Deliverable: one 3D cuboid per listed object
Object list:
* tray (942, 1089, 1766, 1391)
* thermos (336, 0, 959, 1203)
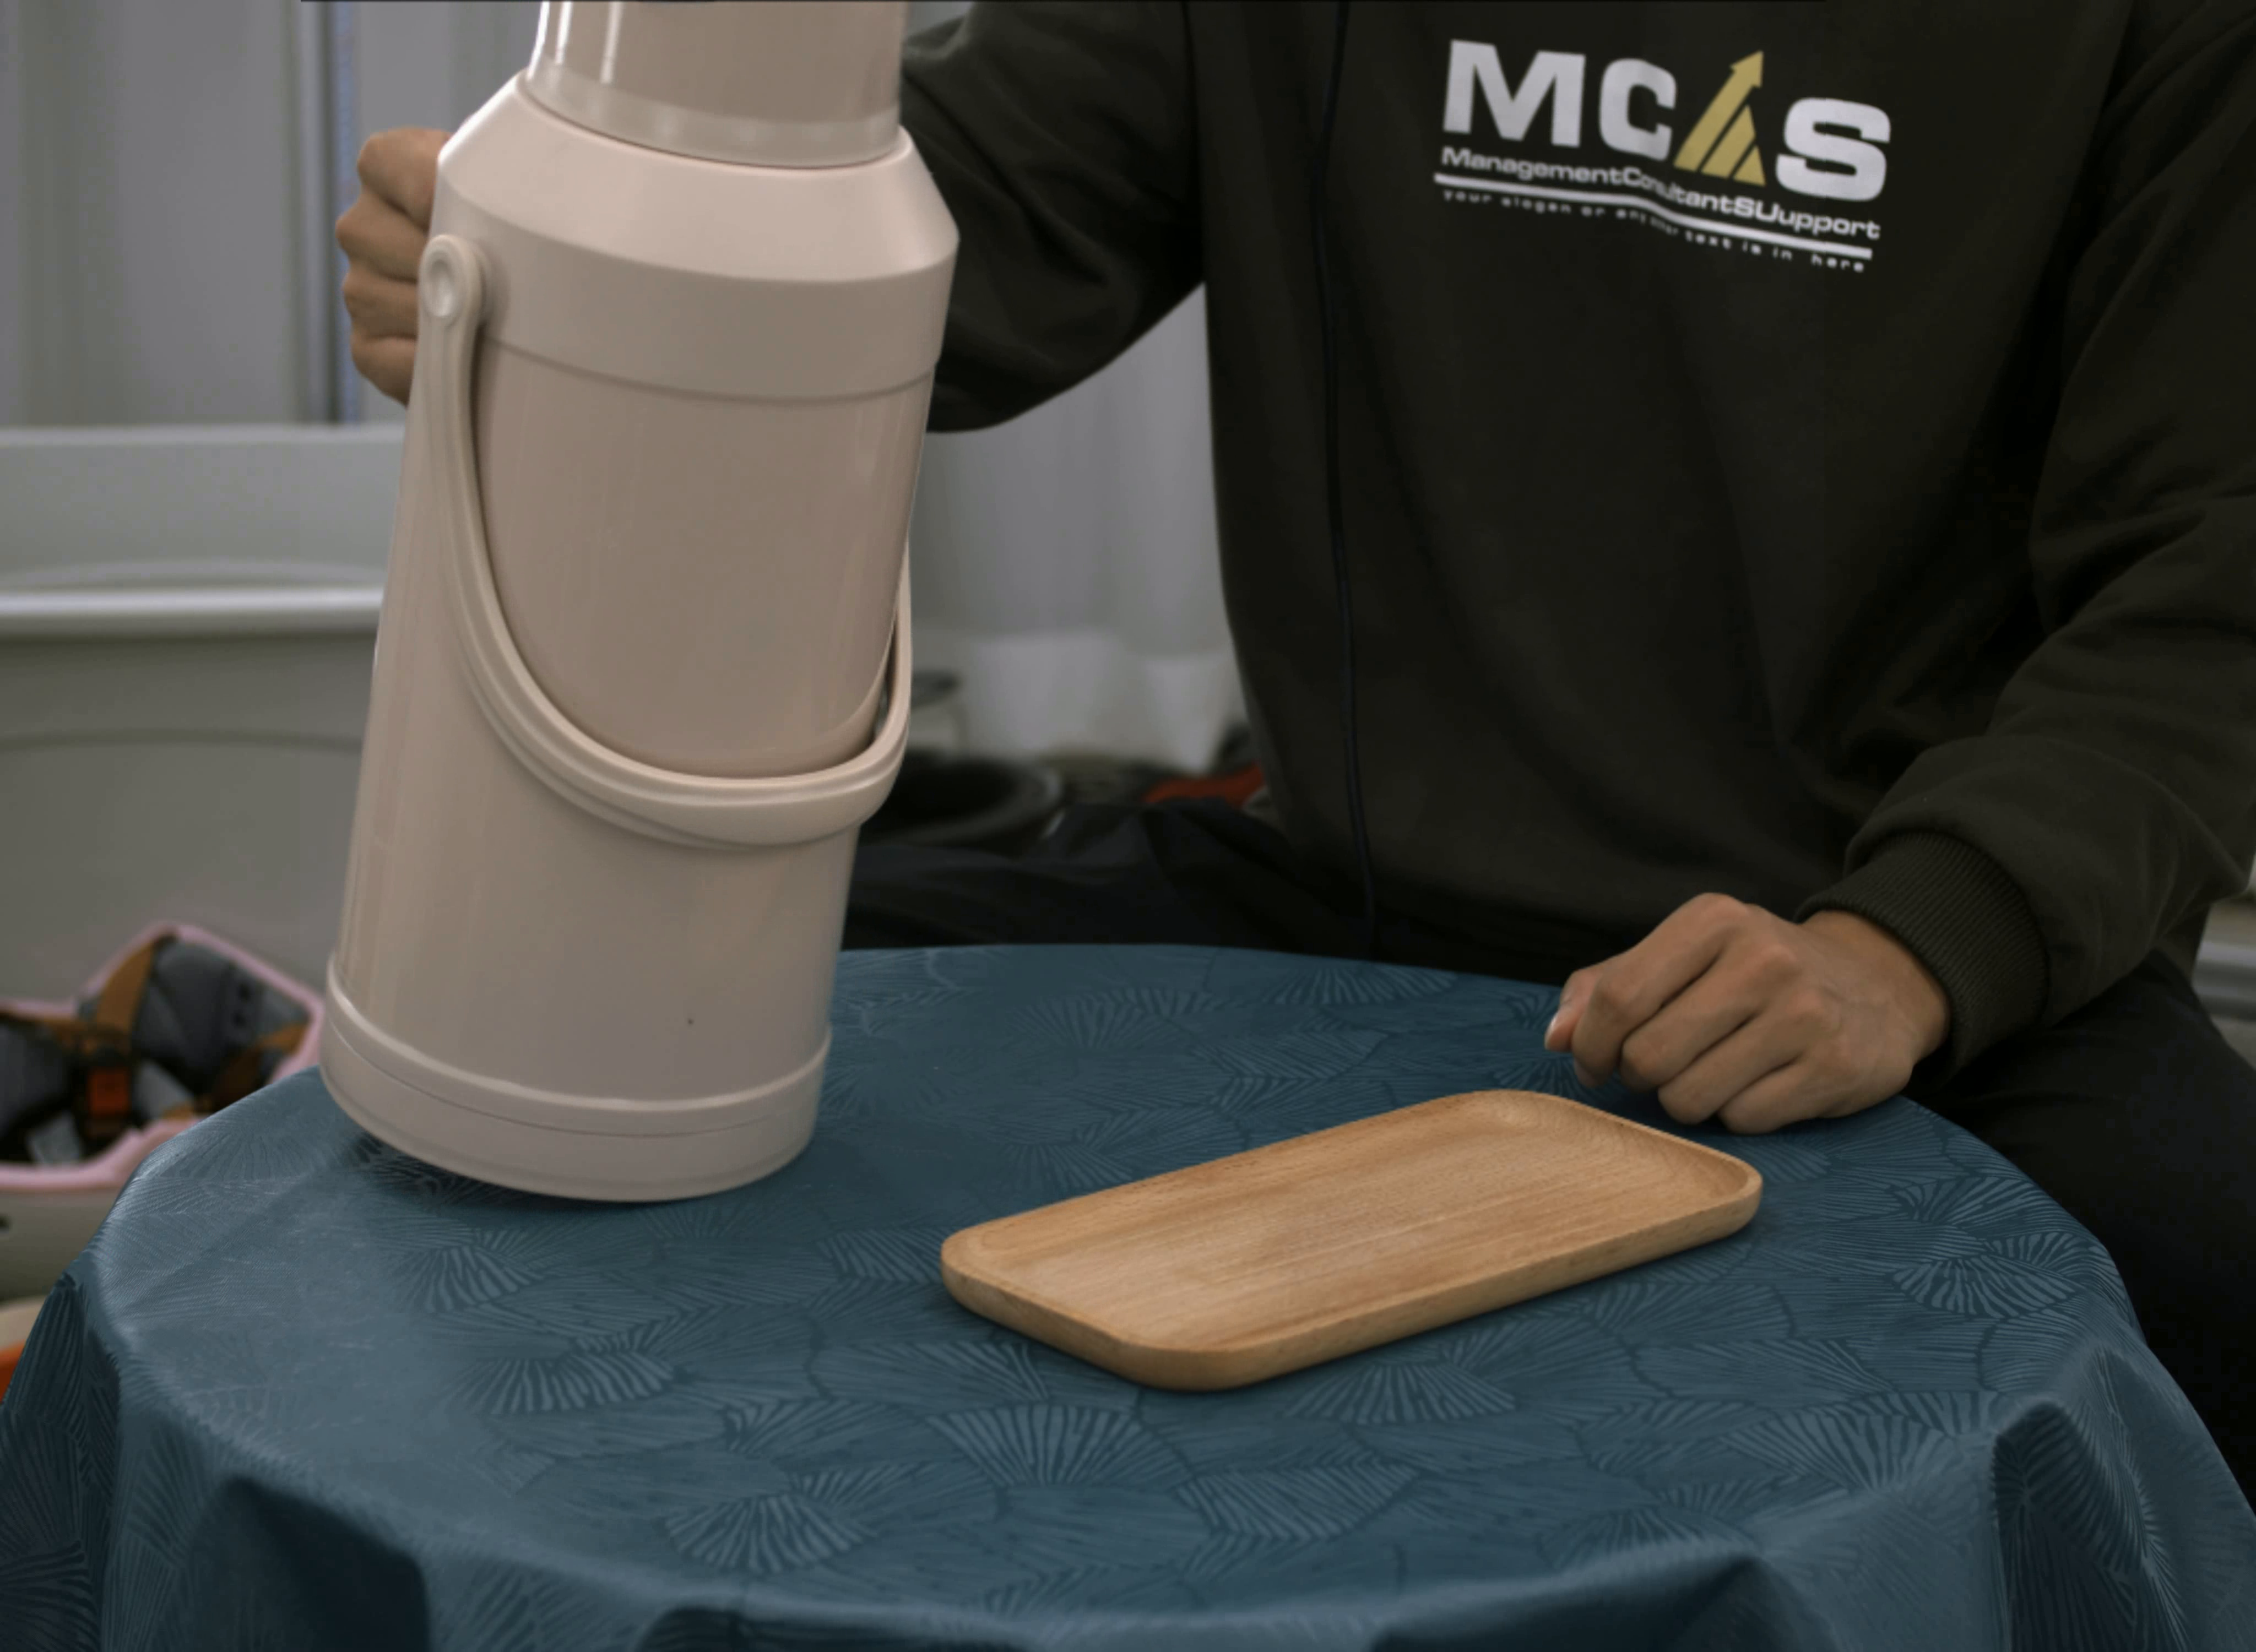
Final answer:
[{"bbox_3d":[0.070,0.121,1.573,0.252,0.023,0.129,-11,22,-39],"label":"tray"},{"bbox_3d":[-0.150,-0.103,1.607,0.176,0.410,0.204,-10,29,-38],"label":"thermos"}]
